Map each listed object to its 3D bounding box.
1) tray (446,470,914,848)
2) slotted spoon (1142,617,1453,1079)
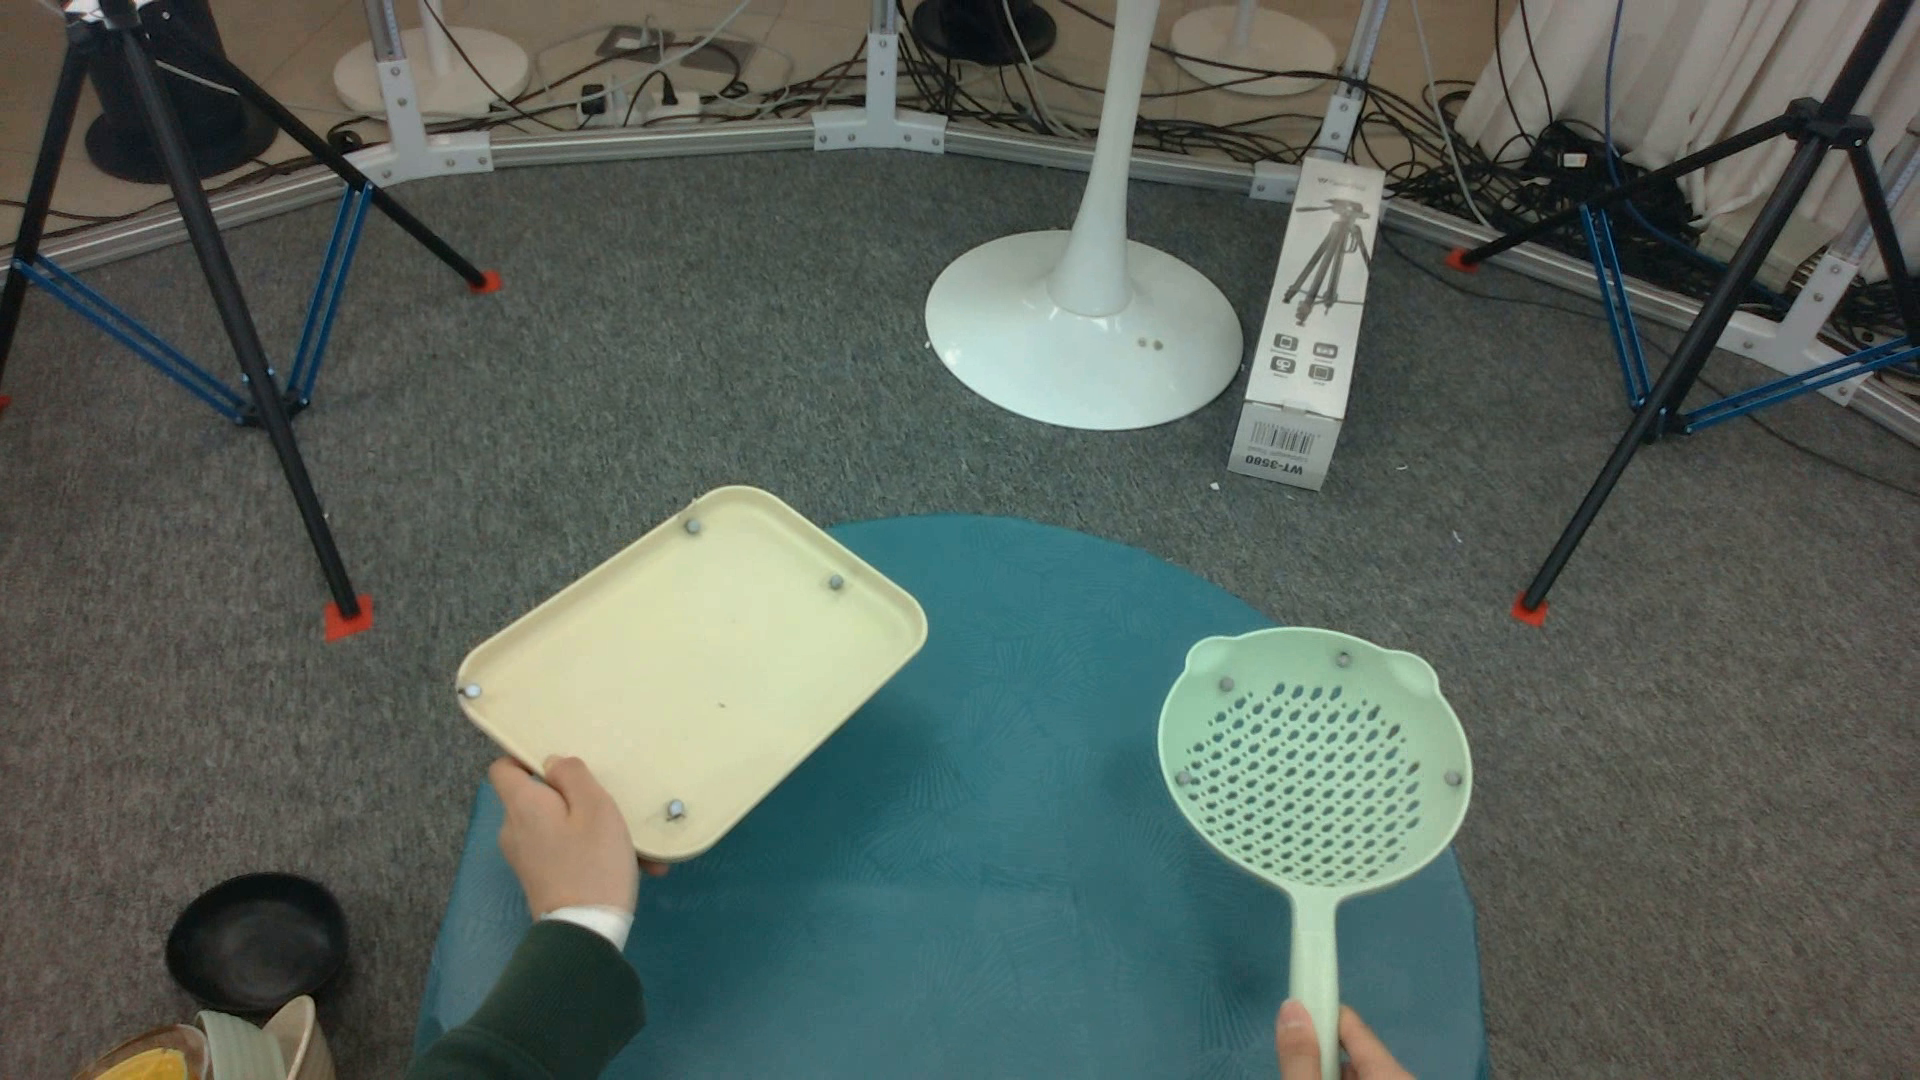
[{"bbox_3d":[-0.150,0.058,0.779,0.171,0.017,0.241,35,47,14],"label":"tray"},{"bbox_3d":[0.173,0.190,0.711,0.169,0.075,0.360,4,41,9],"label":"slotted spoon"}]
